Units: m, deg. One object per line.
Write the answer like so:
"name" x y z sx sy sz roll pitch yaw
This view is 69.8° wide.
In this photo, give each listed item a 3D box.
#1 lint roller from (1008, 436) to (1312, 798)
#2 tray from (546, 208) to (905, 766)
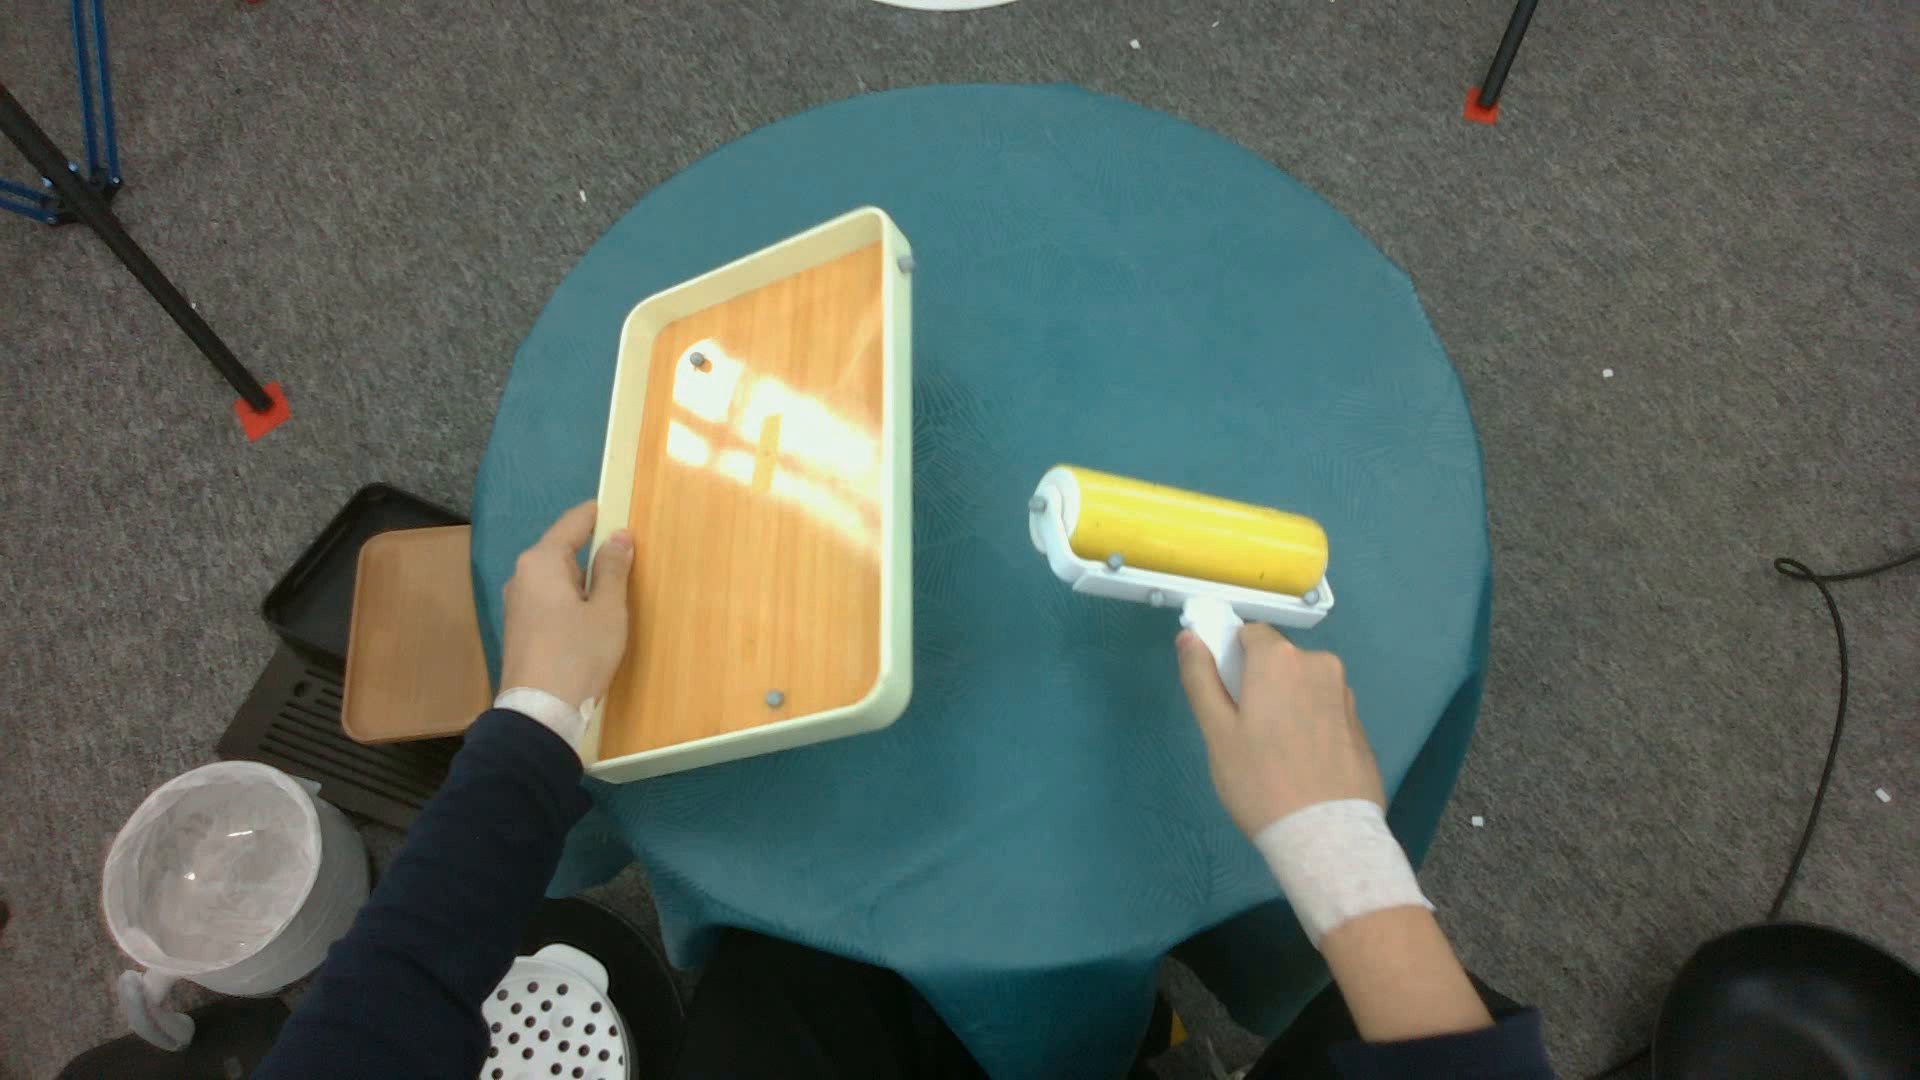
"lint roller" 0.124 0.034 0.680 0.174 0.051 0.192 9 41 -28
"tray" -0.120 -0.035 0.738 0.191 0.027 0.301 -12 58 20
